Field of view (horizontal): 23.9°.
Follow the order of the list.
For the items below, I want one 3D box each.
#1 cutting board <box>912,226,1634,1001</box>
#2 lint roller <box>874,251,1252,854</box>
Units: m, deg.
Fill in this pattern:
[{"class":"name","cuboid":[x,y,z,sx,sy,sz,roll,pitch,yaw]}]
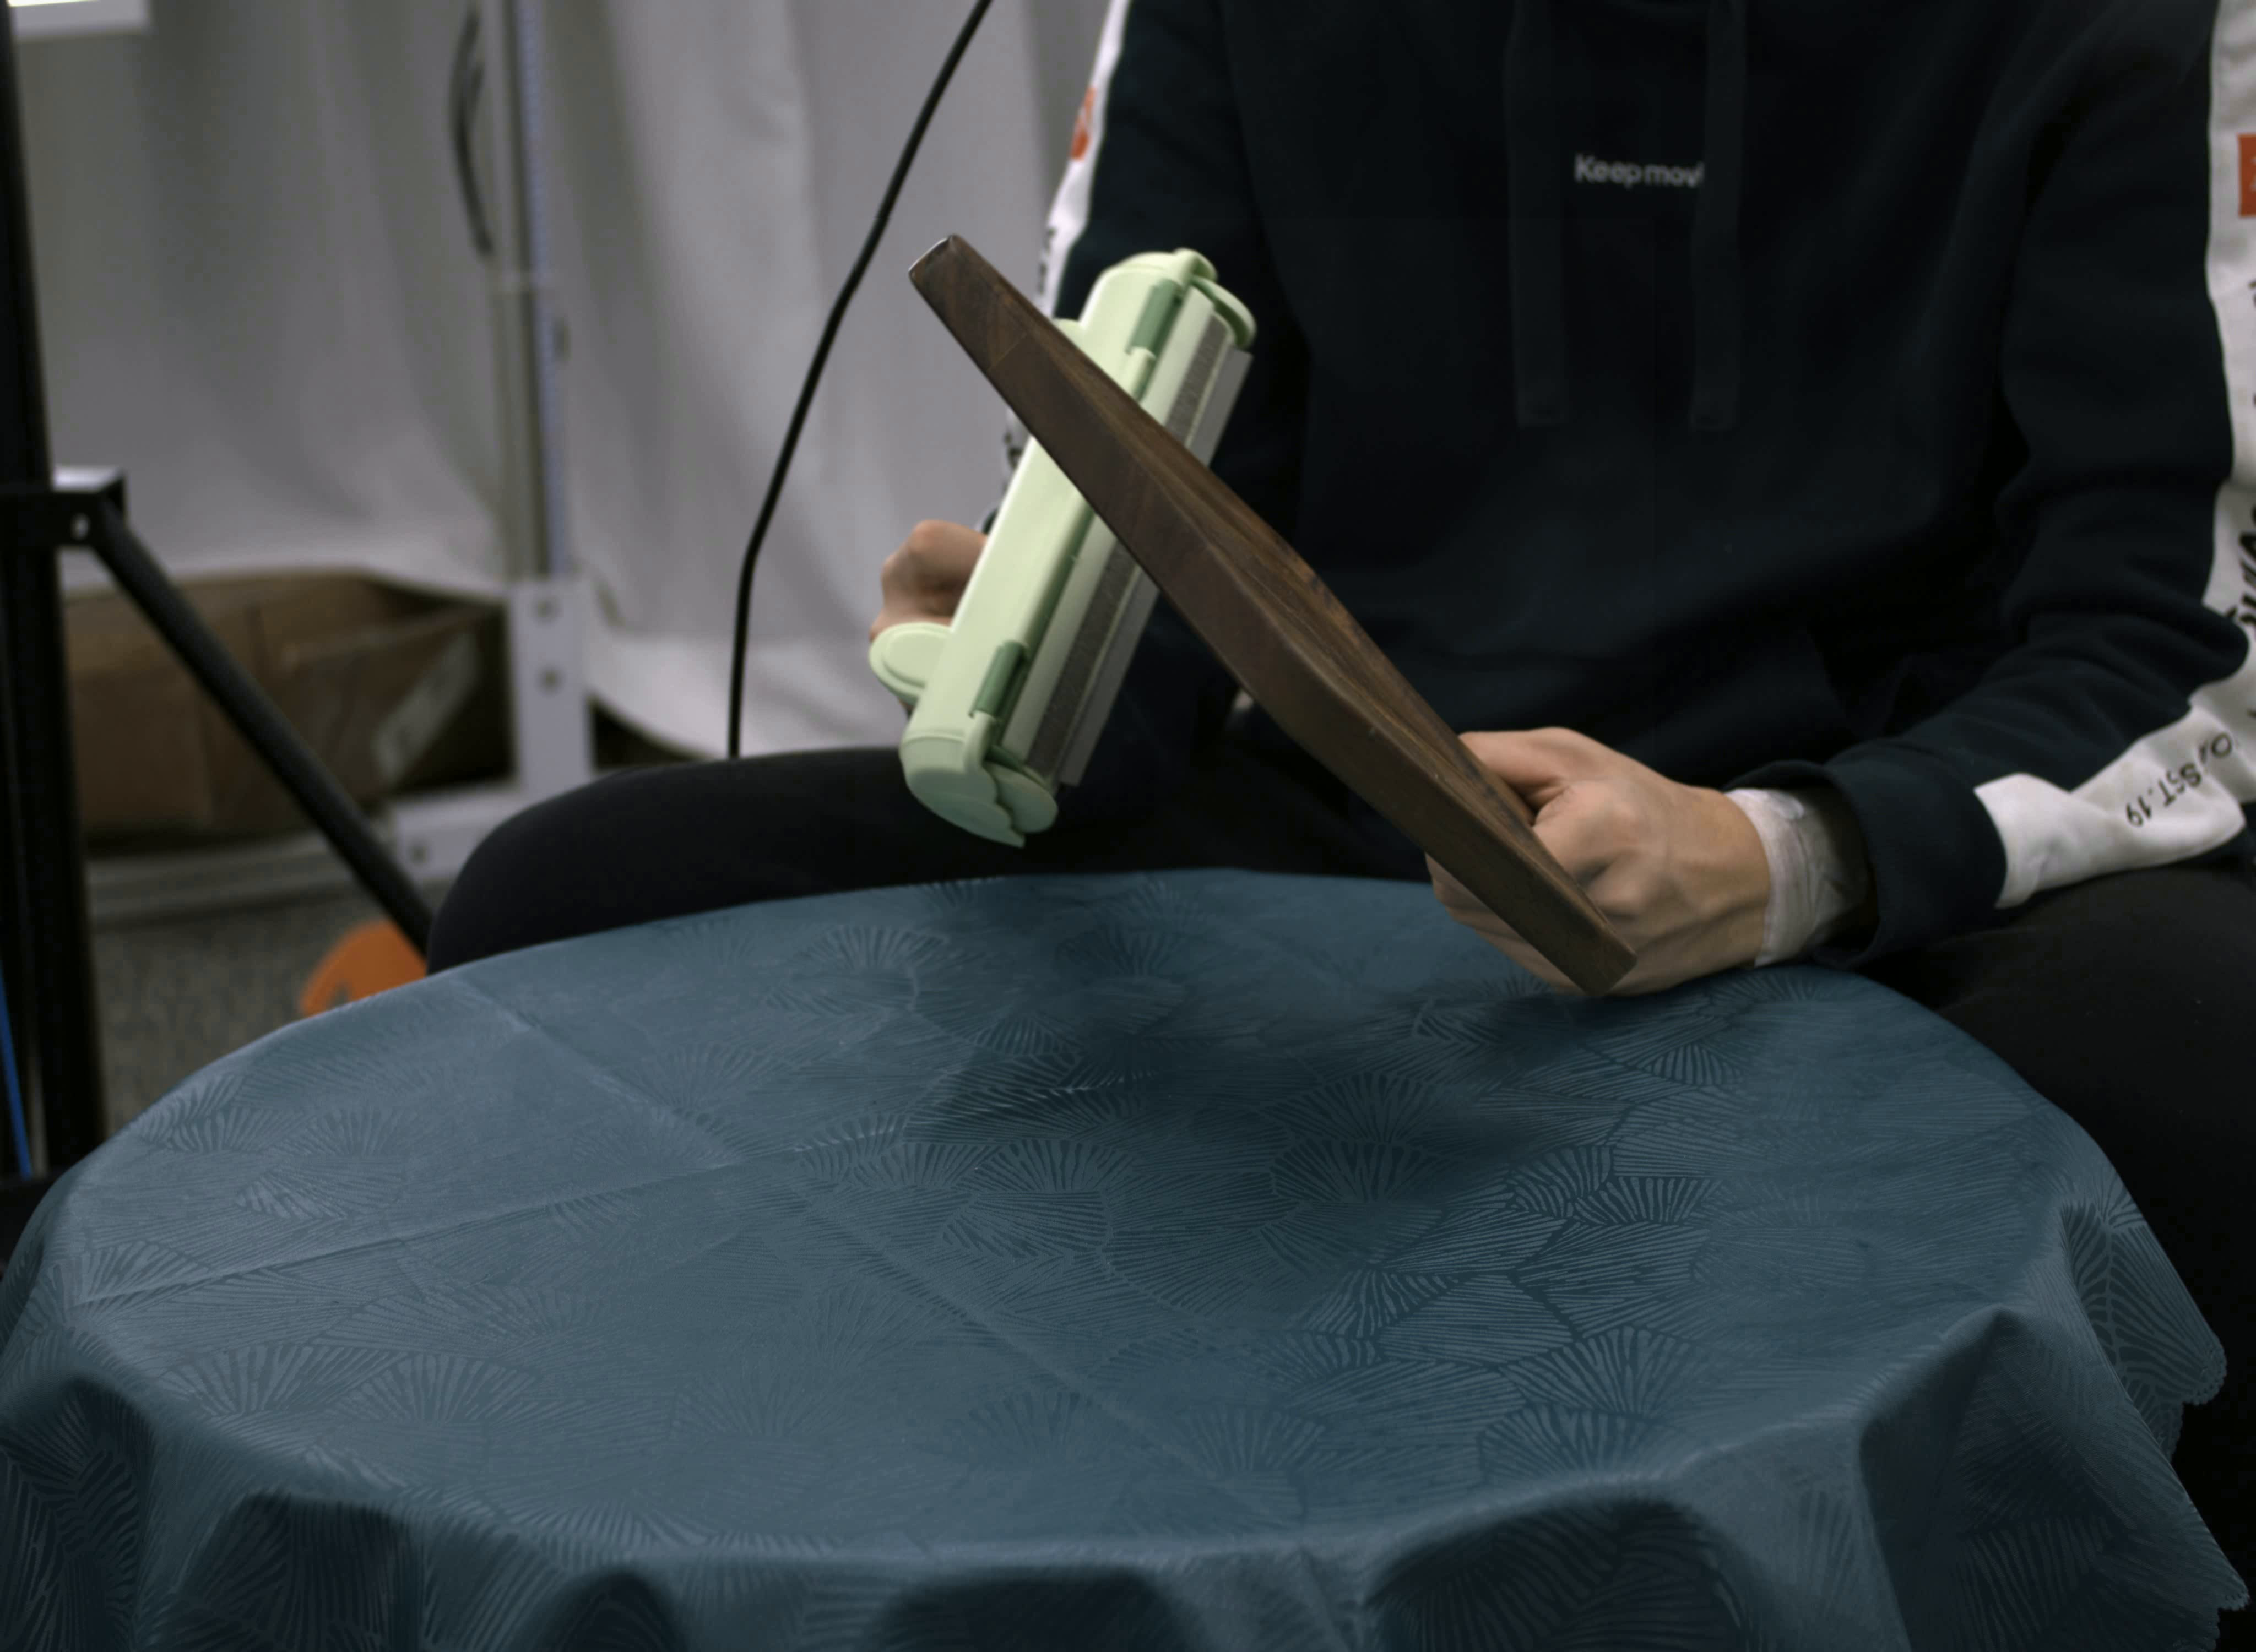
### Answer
[{"class":"cutting board","cuboid":[0.066,-0.041,1.574,0.205,0.023,0.344,52,7,32]},{"class":"lint roller","cuboid":[-0.037,-0.078,1.754,0.081,0.199,0.185,26,-21,-10]}]
